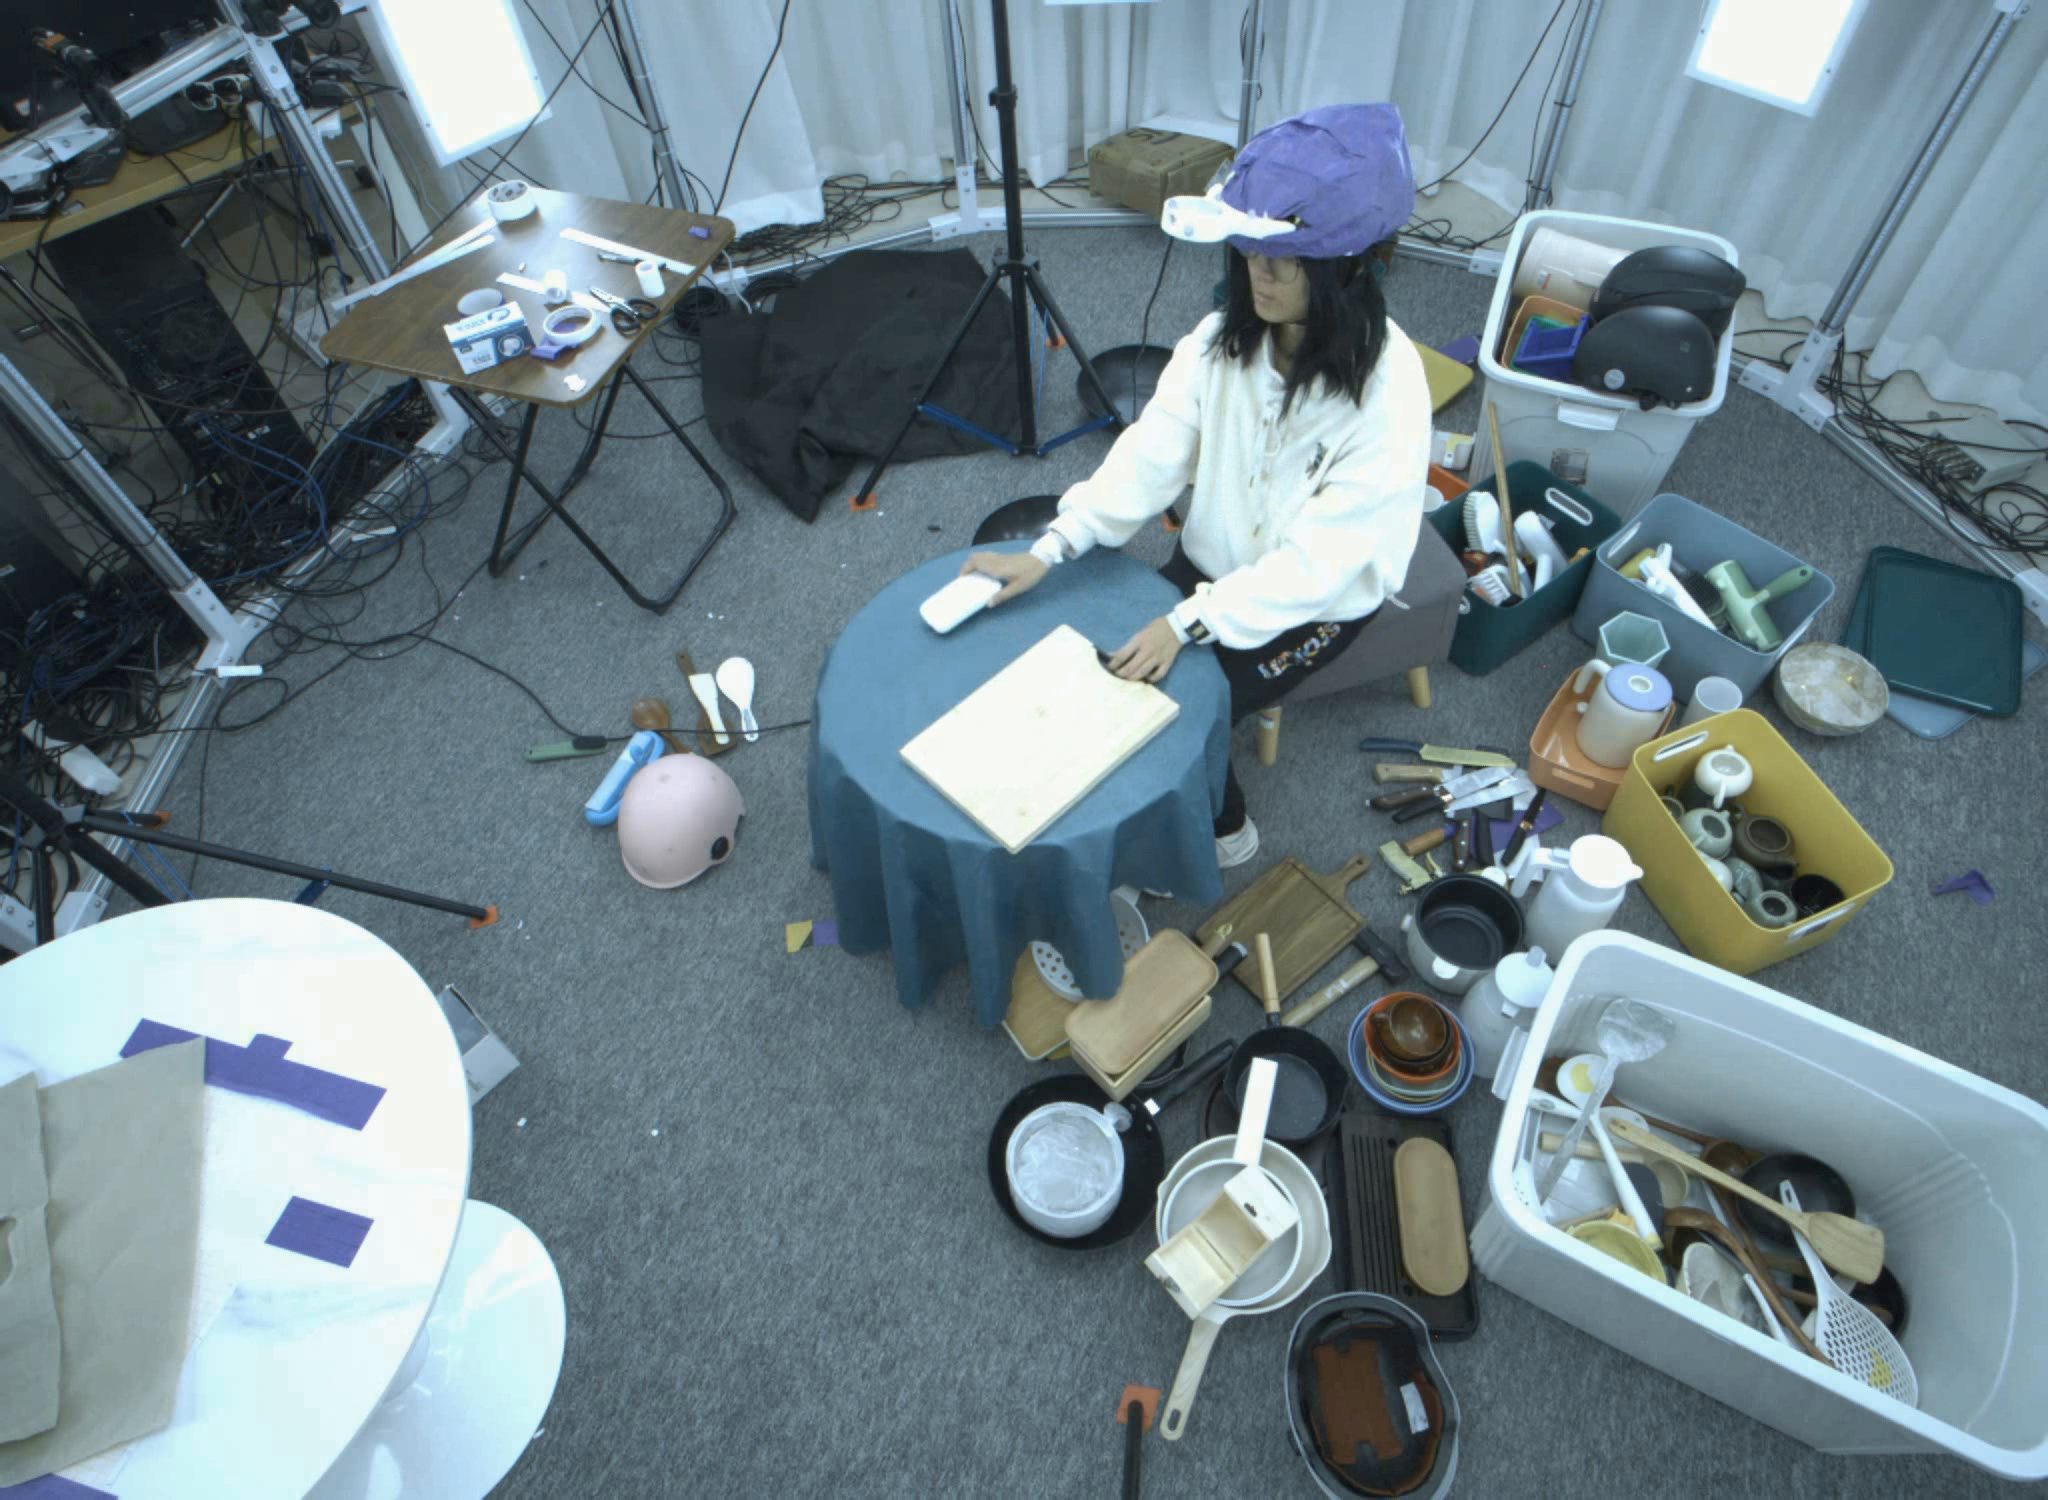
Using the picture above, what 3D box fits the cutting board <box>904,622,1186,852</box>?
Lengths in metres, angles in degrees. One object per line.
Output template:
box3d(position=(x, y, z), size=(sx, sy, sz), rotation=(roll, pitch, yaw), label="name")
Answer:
box3d(position=(0.029, -0.029, 1.798), size=(0.246, 0.024, 0.351), rotation=(38, 64, 25), label="cutting board")

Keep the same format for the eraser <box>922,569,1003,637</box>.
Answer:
box3d(position=(-0.096, -0.232, 1.927), size=(0.132, 0.035, 0.062), rotation=(-36, 62, -15), label="eraser")
